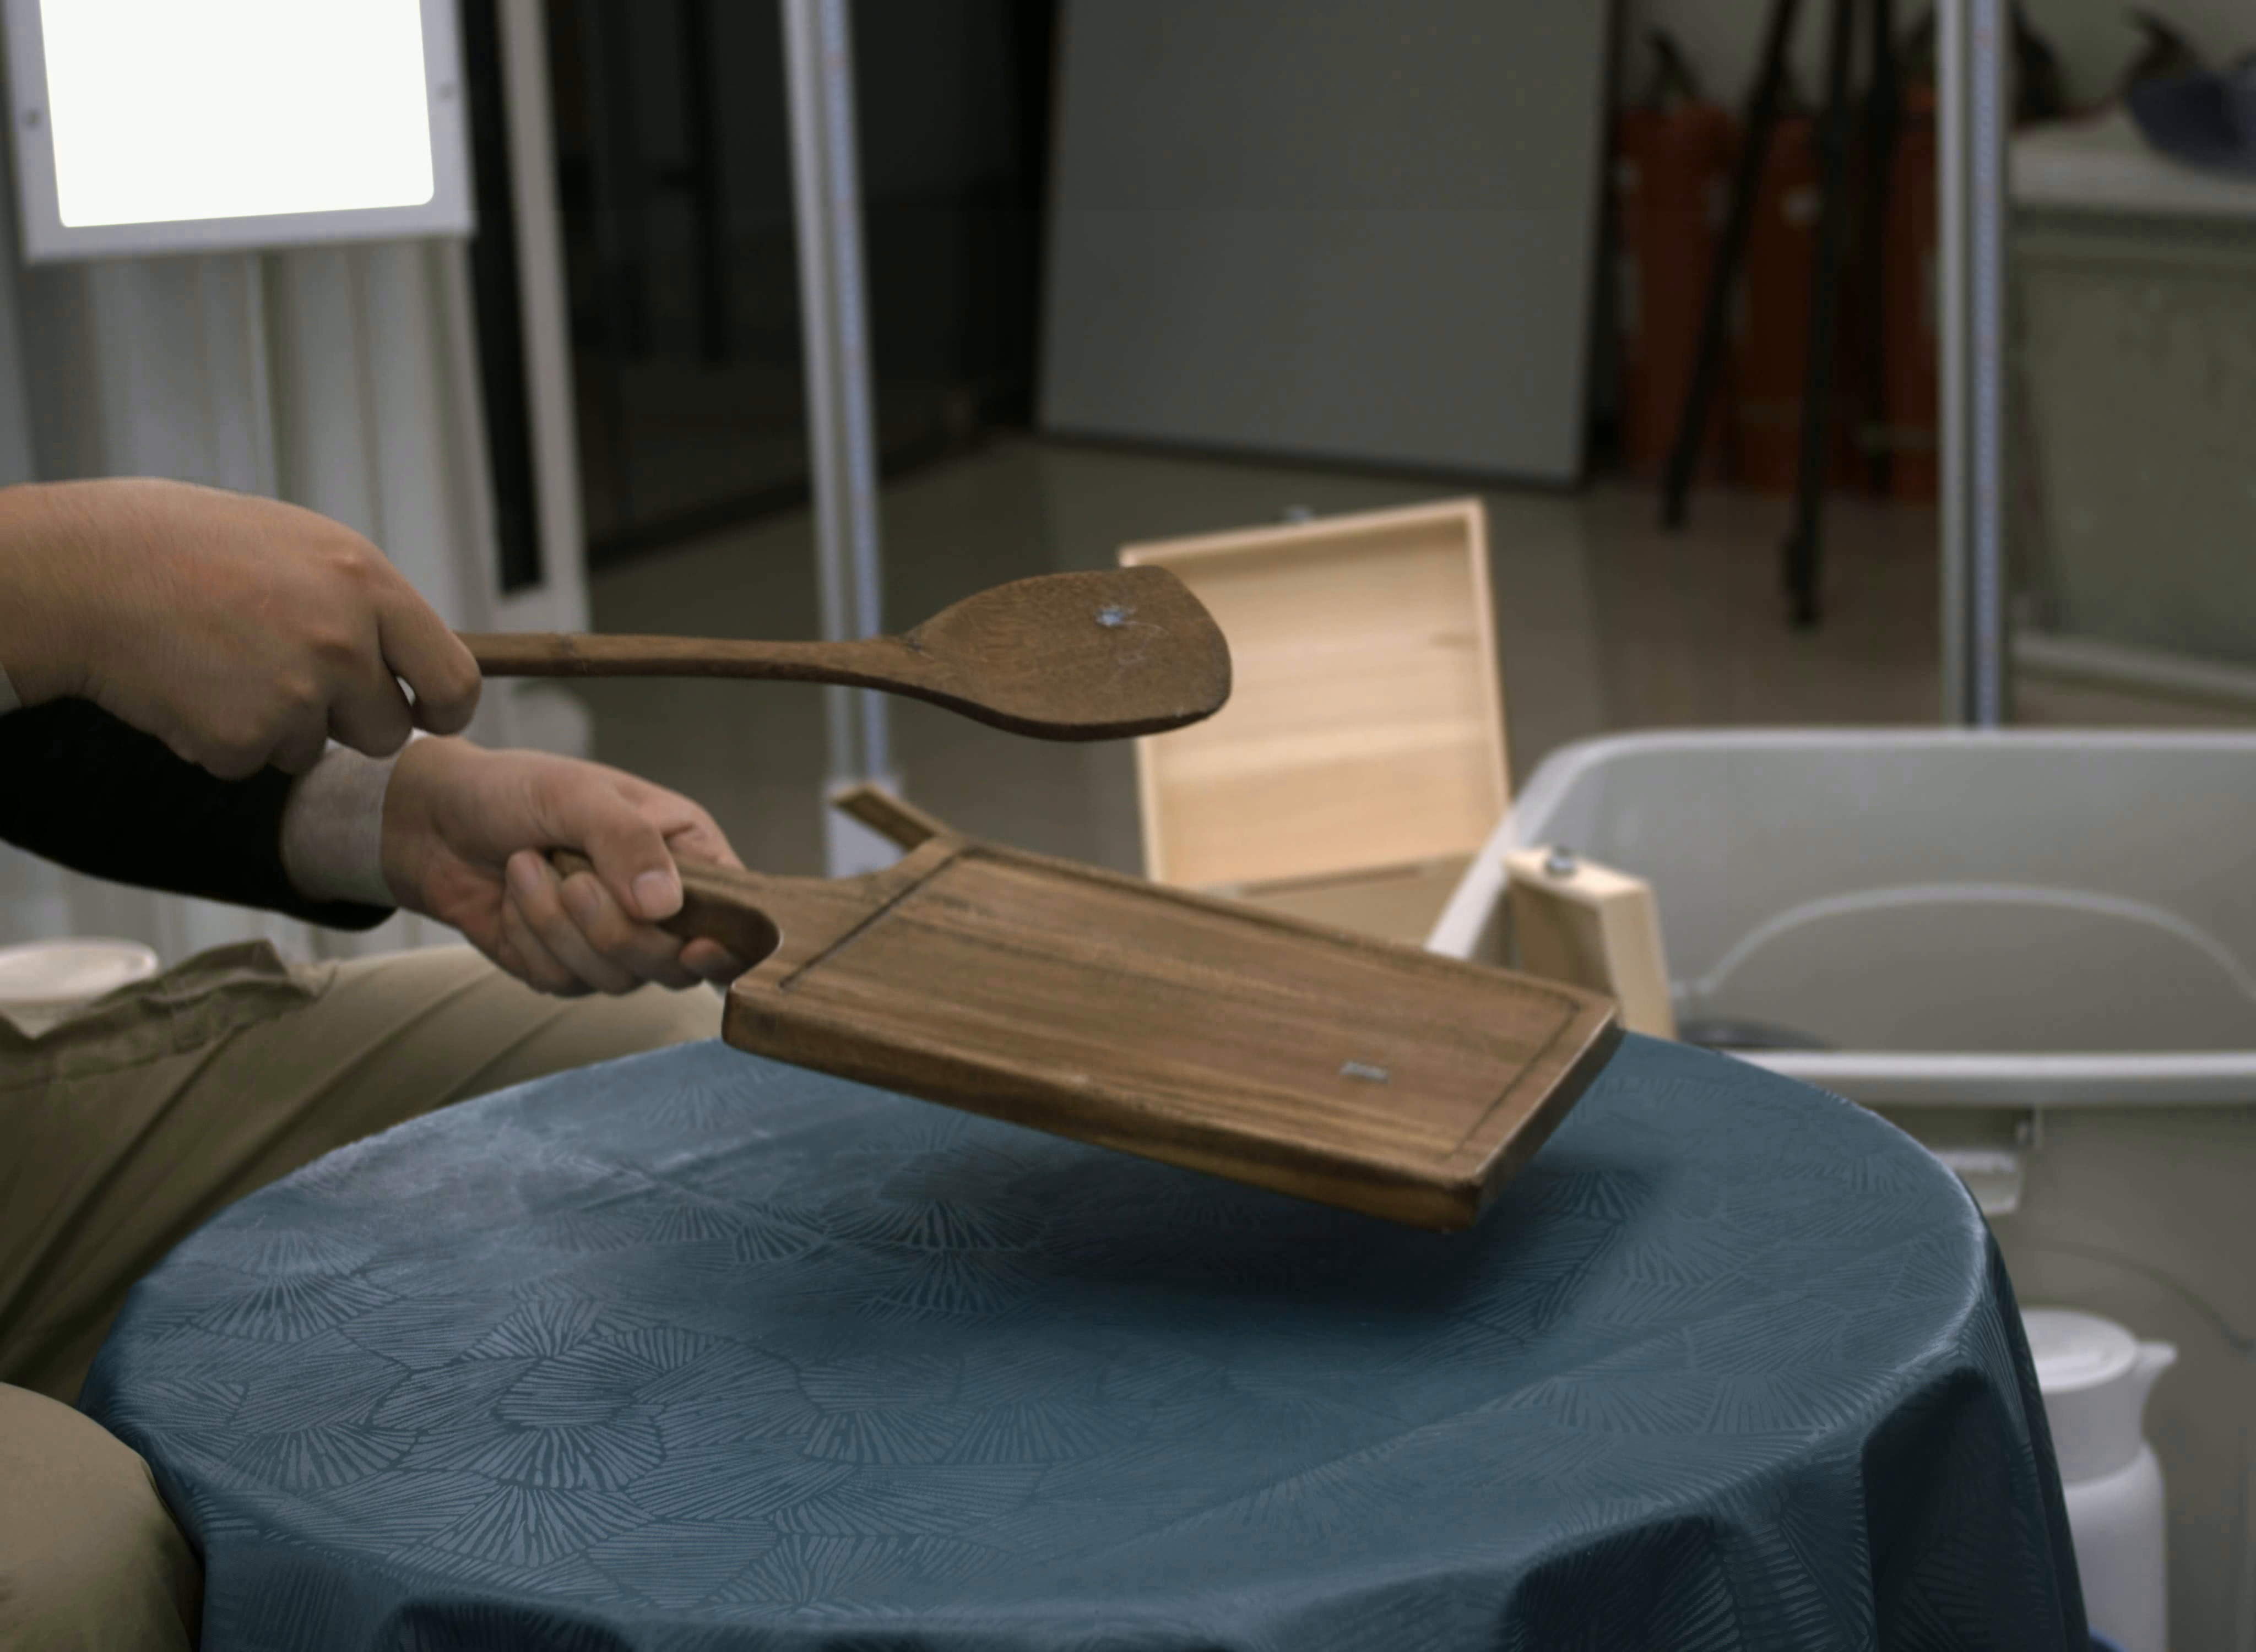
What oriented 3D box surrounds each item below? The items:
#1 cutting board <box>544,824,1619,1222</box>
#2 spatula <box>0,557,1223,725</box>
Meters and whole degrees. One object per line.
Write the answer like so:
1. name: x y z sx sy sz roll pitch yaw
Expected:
1. cutting board: -0.027 0.048 1.745 0.351 0.023 0.199 13 19 17
2. spatula: -0.158 -0.057 1.673 0.378 0.016 0.097 0 32 -13
